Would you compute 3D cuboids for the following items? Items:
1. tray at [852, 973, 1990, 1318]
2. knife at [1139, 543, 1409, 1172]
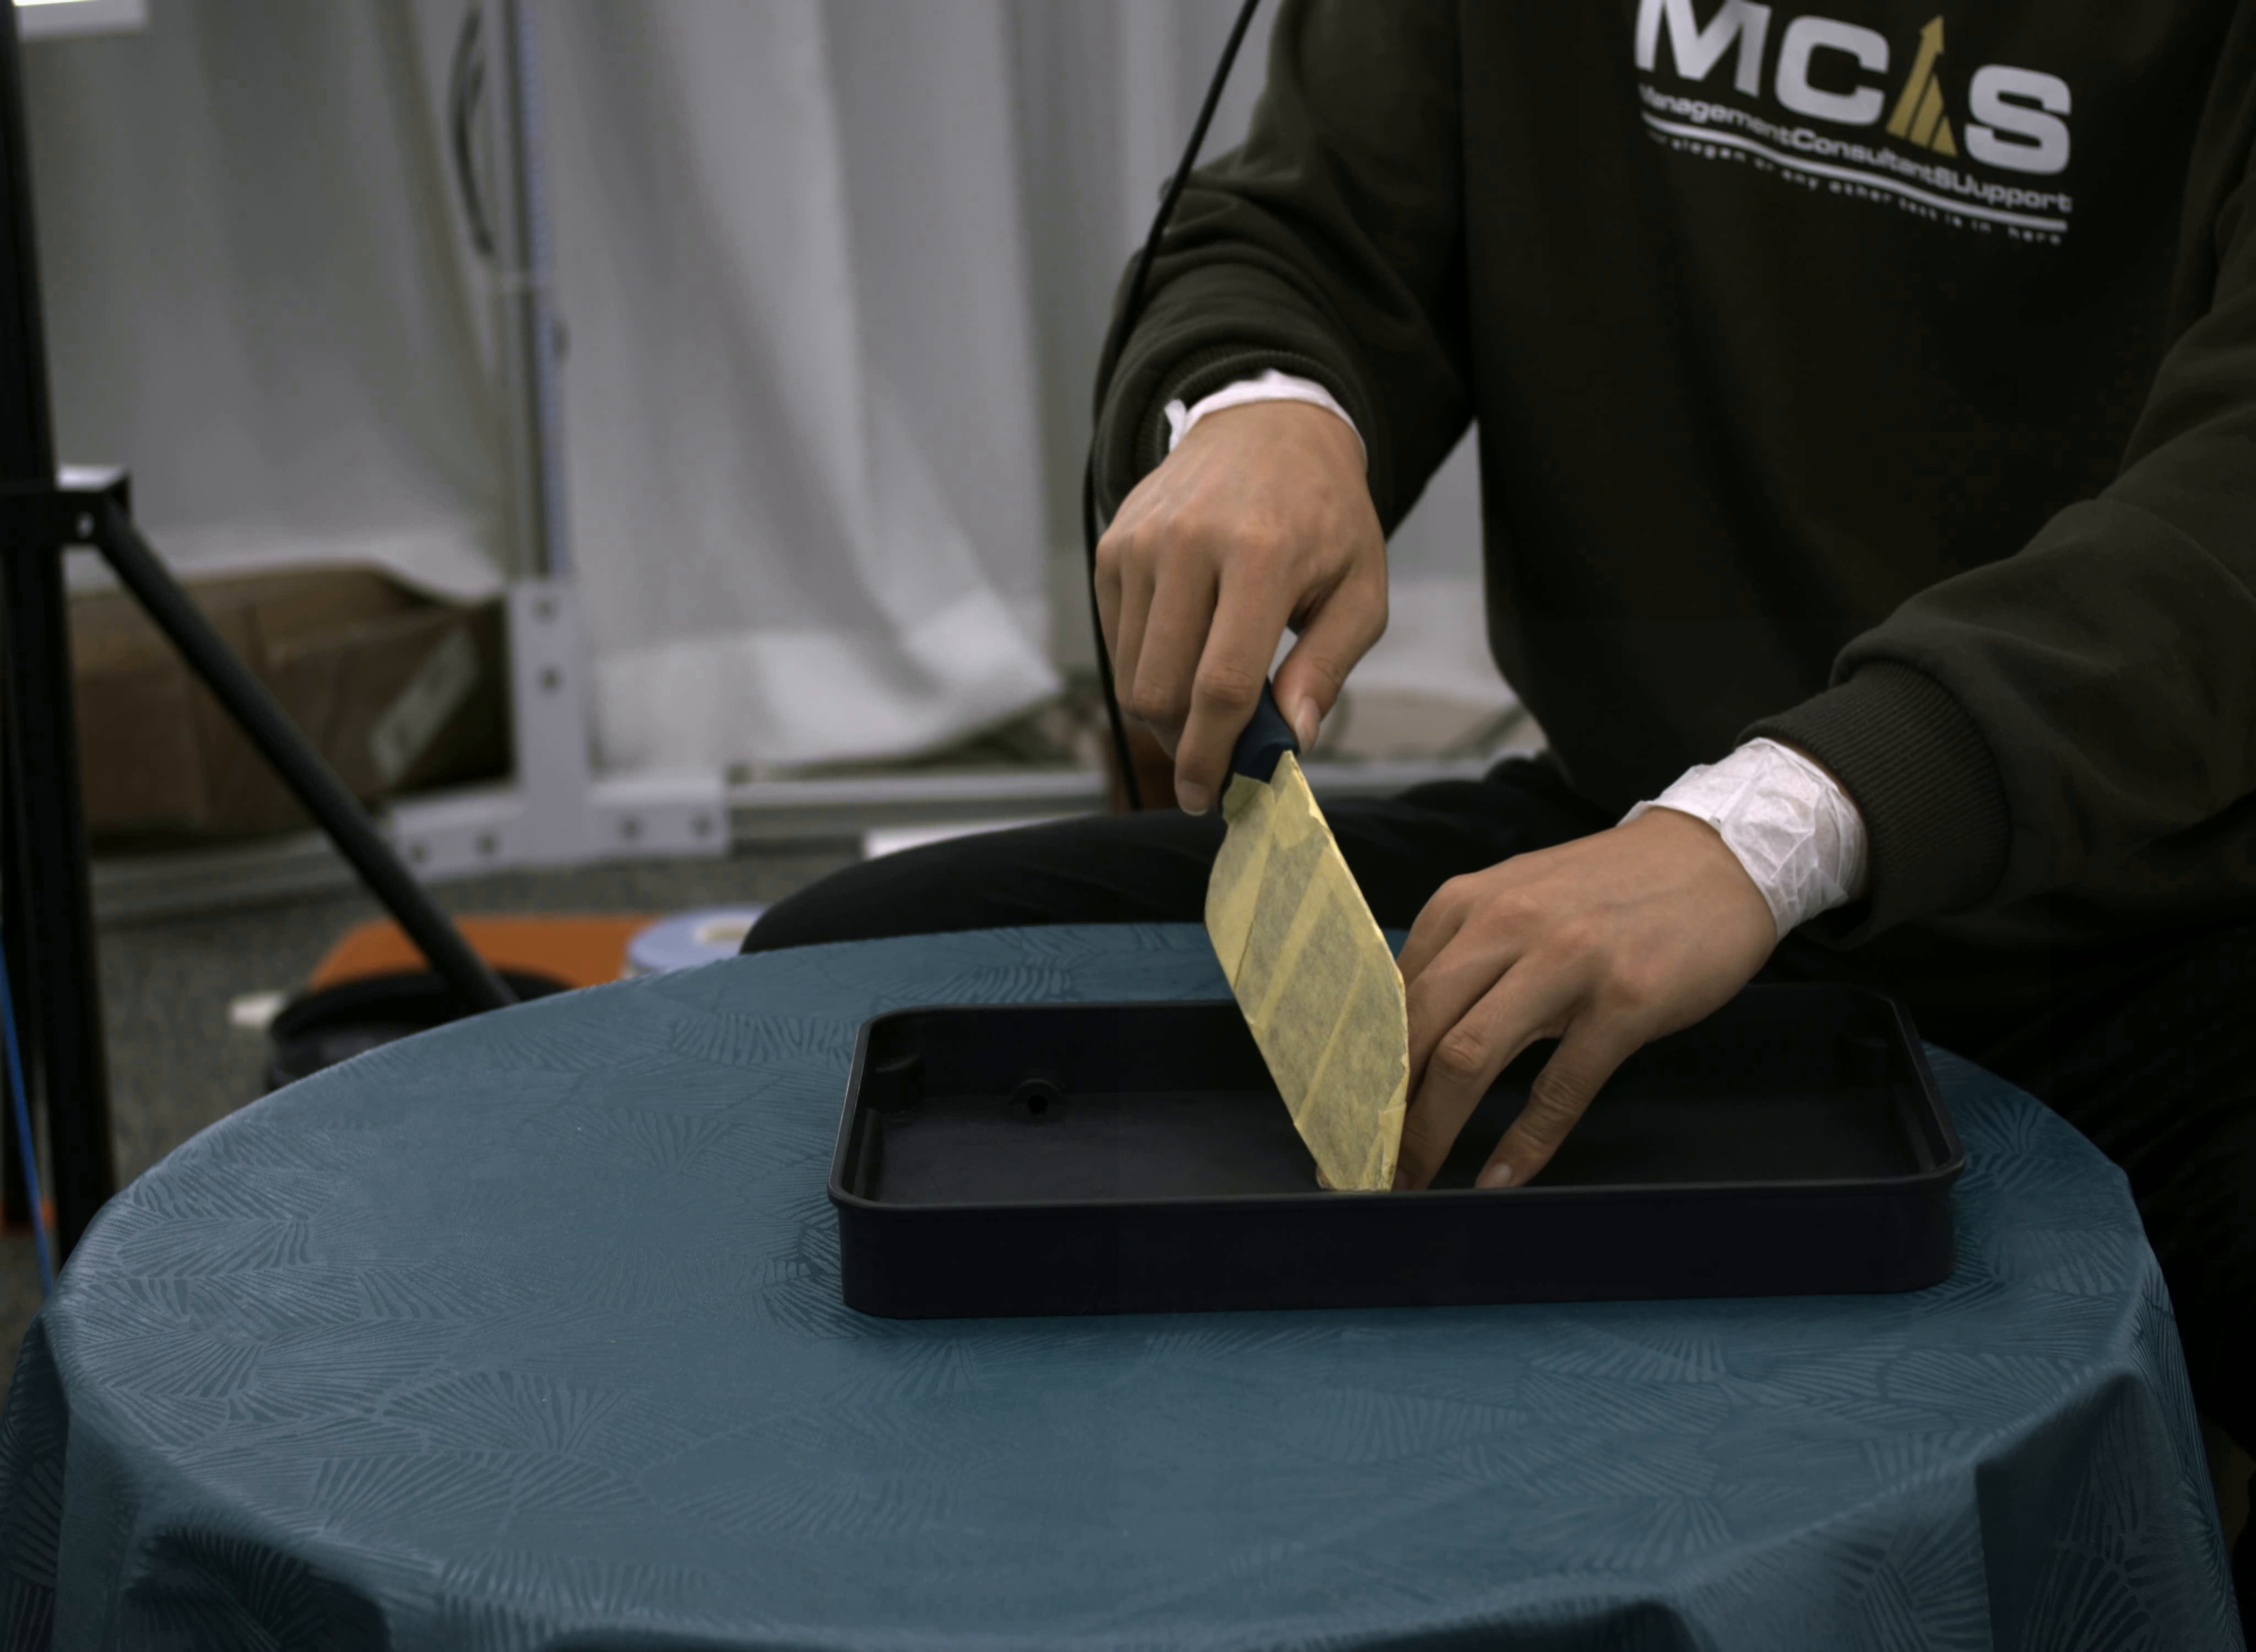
[{"bbox_3d":[0.081,0.091,1.540,0.317,0.037,0.185,-2,16,1],"label":"tray"},{"bbox_3d":[0.041,0.010,1.607,0.026,0.081,0.294,11,34,-23],"label":"knife"}]
